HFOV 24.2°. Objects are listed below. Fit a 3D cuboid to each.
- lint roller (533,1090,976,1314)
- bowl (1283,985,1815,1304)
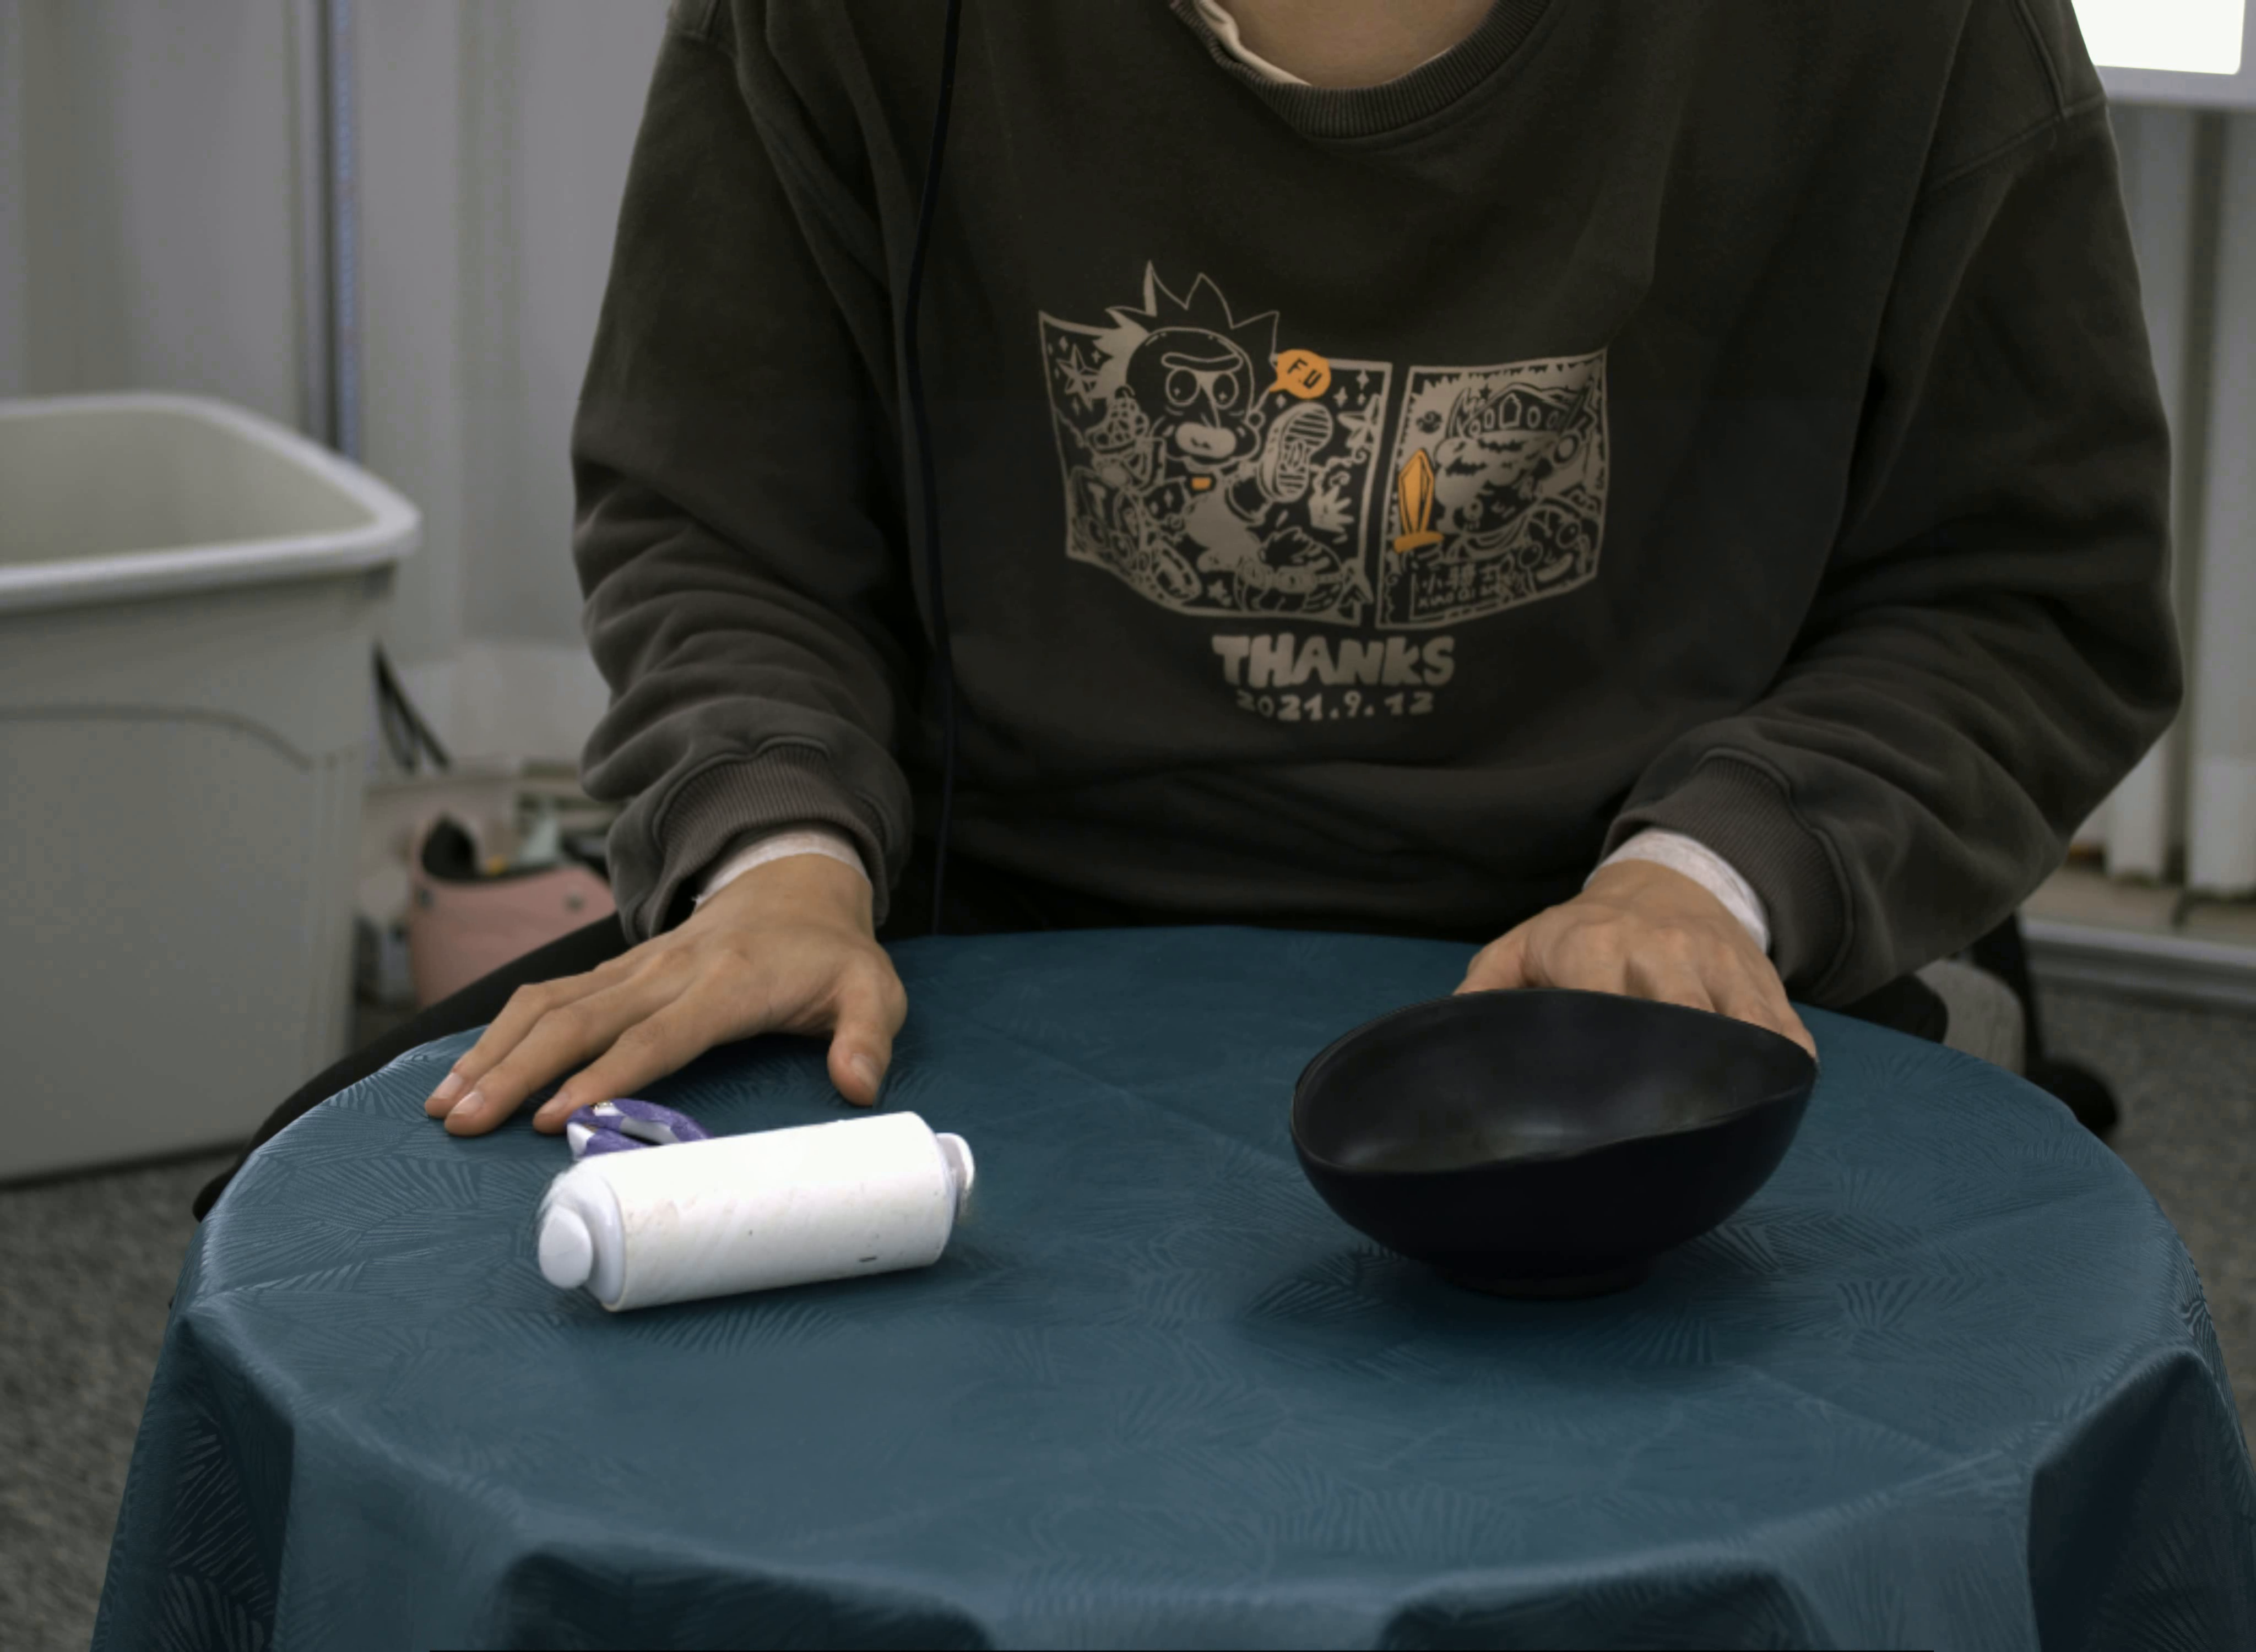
[{"bbox_3d":[-0.132,0.095,1.598,0.133,0.050,0.178,-6,19,-21],"label":"lint roller"},{"bbox_3d":[0.126,0.100,1.562,0.171,0.067,0.135,-14,20,-37],"label":"bowl"}]
